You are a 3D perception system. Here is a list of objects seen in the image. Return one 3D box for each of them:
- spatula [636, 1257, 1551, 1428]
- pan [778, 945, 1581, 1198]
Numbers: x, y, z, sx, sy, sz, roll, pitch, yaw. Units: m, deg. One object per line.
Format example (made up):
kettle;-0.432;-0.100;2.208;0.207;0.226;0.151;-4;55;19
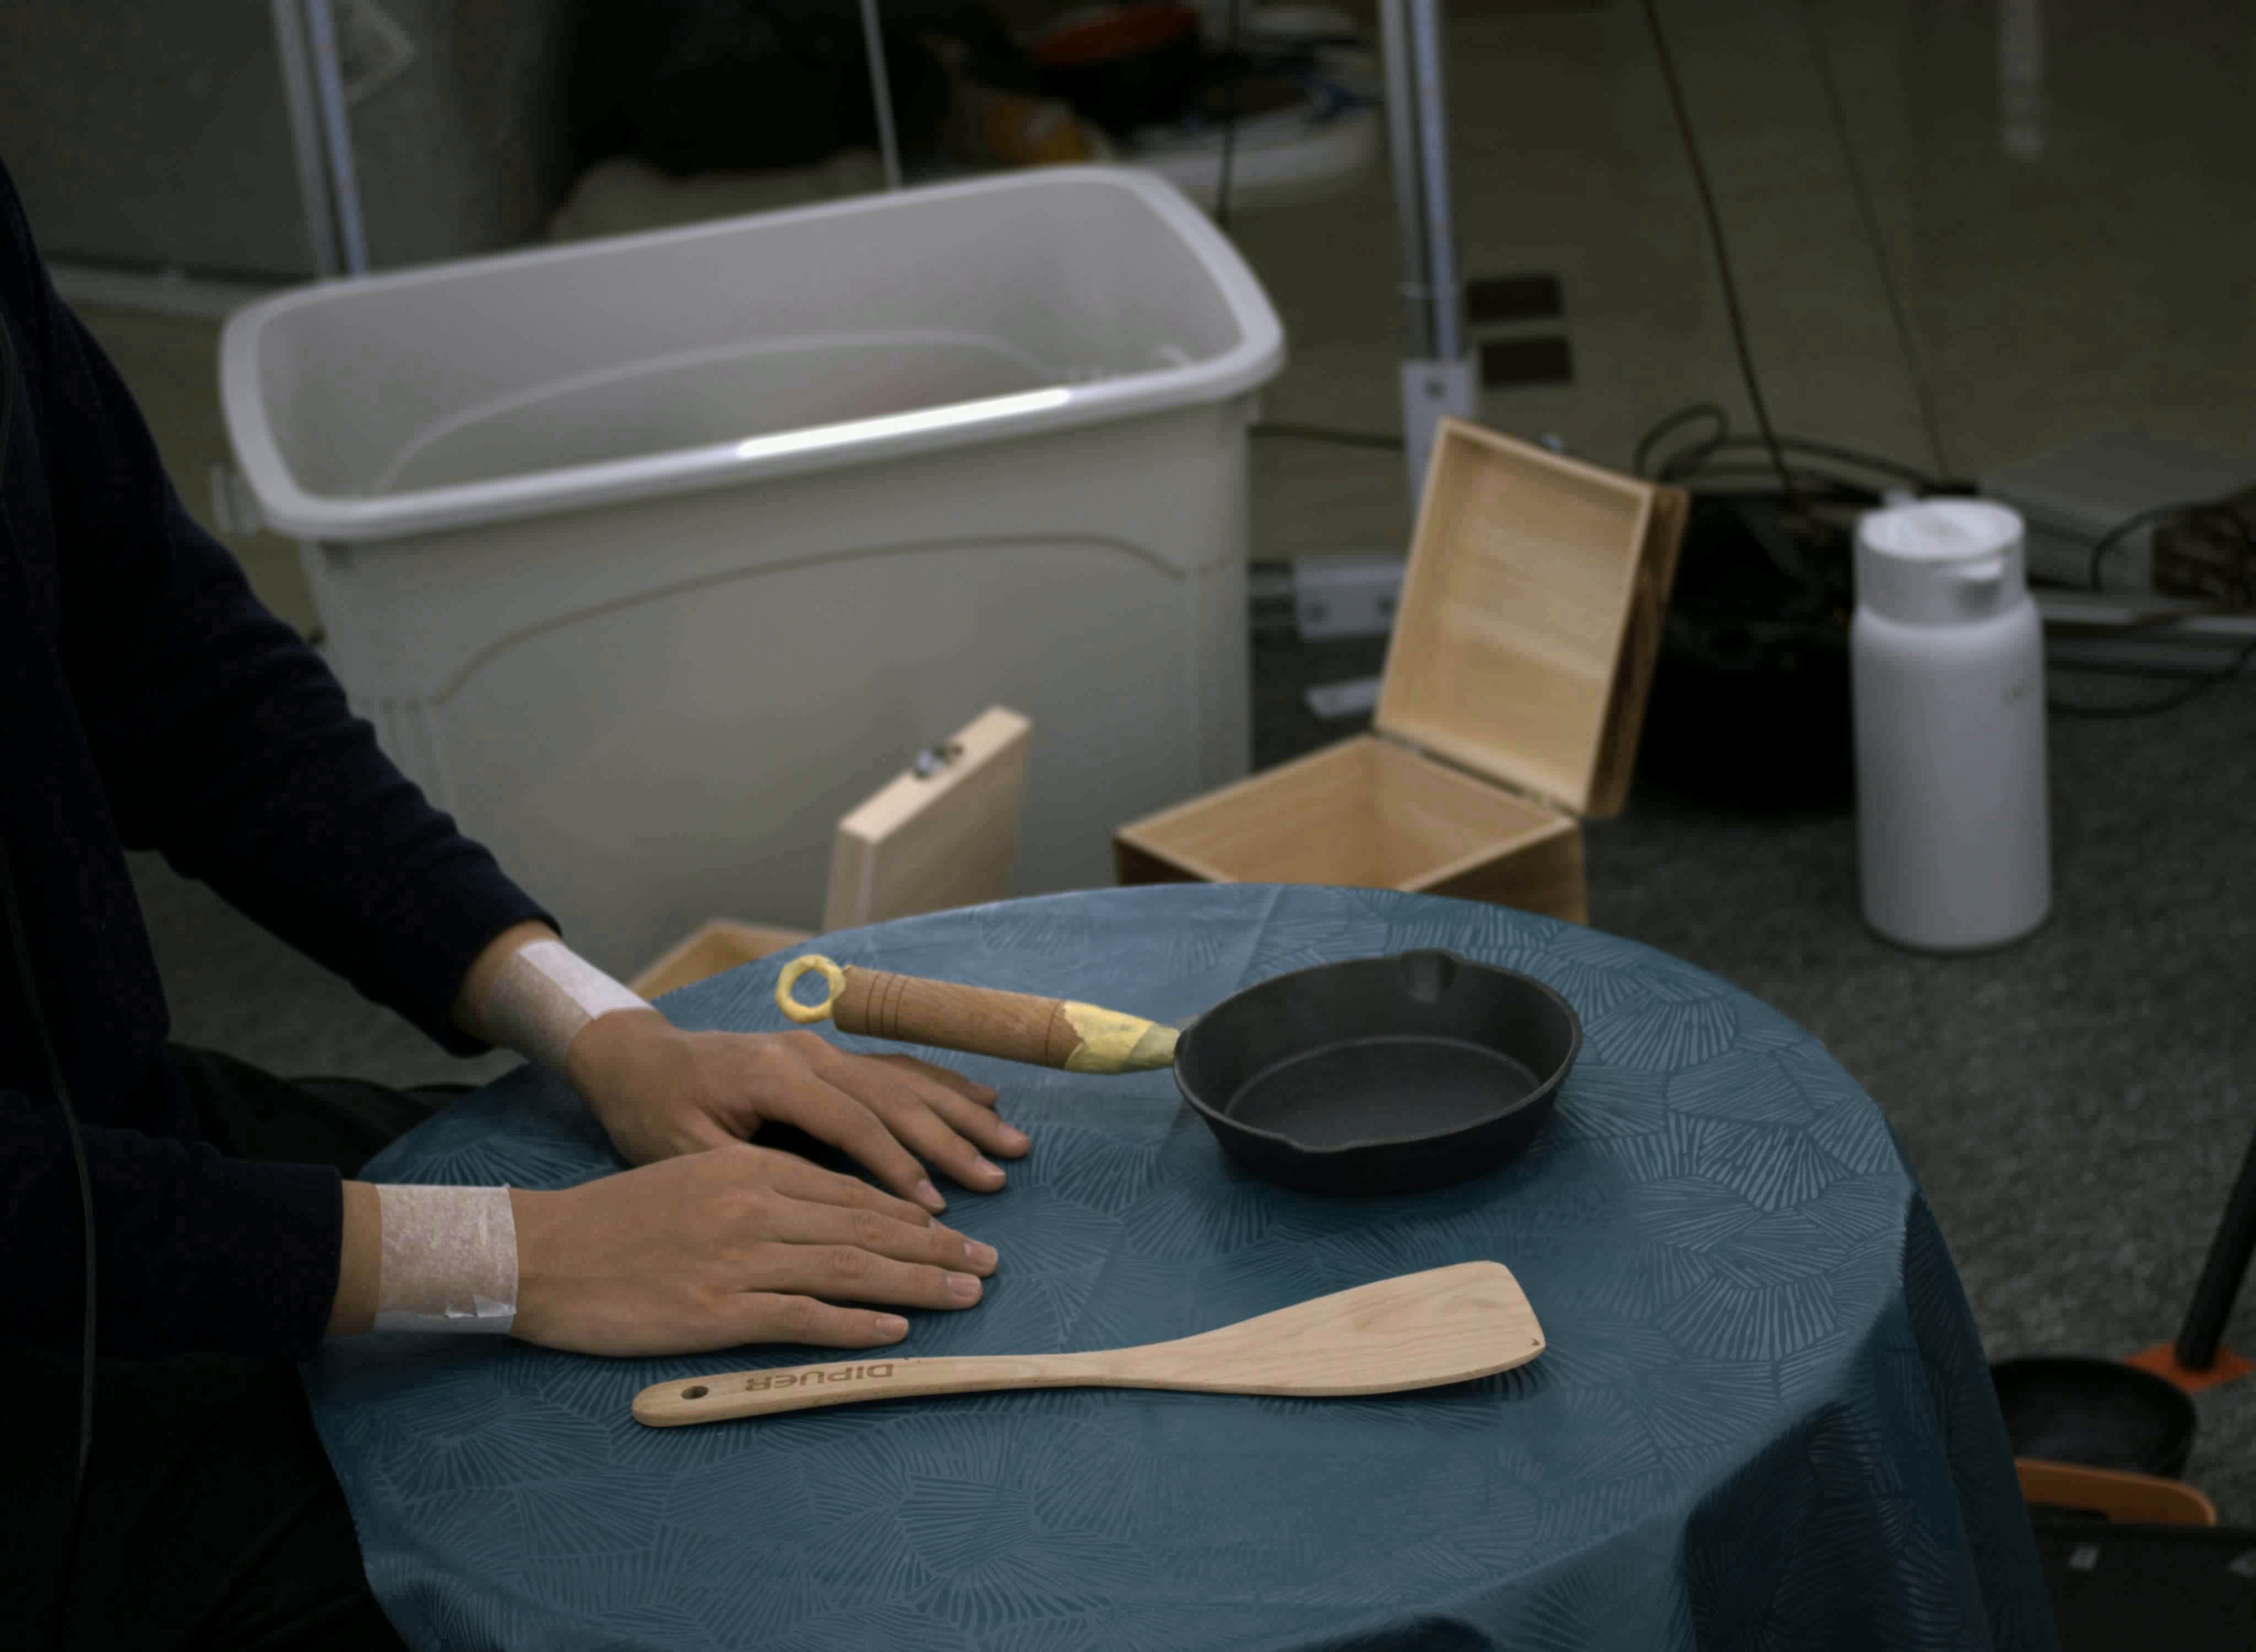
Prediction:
spatula;-0.014;0.189;2.024;0.327;0.017;0.079;-5;24;3
pan;0.017;0.086;2.196;0.323;0.050;0.166;5;27;20
